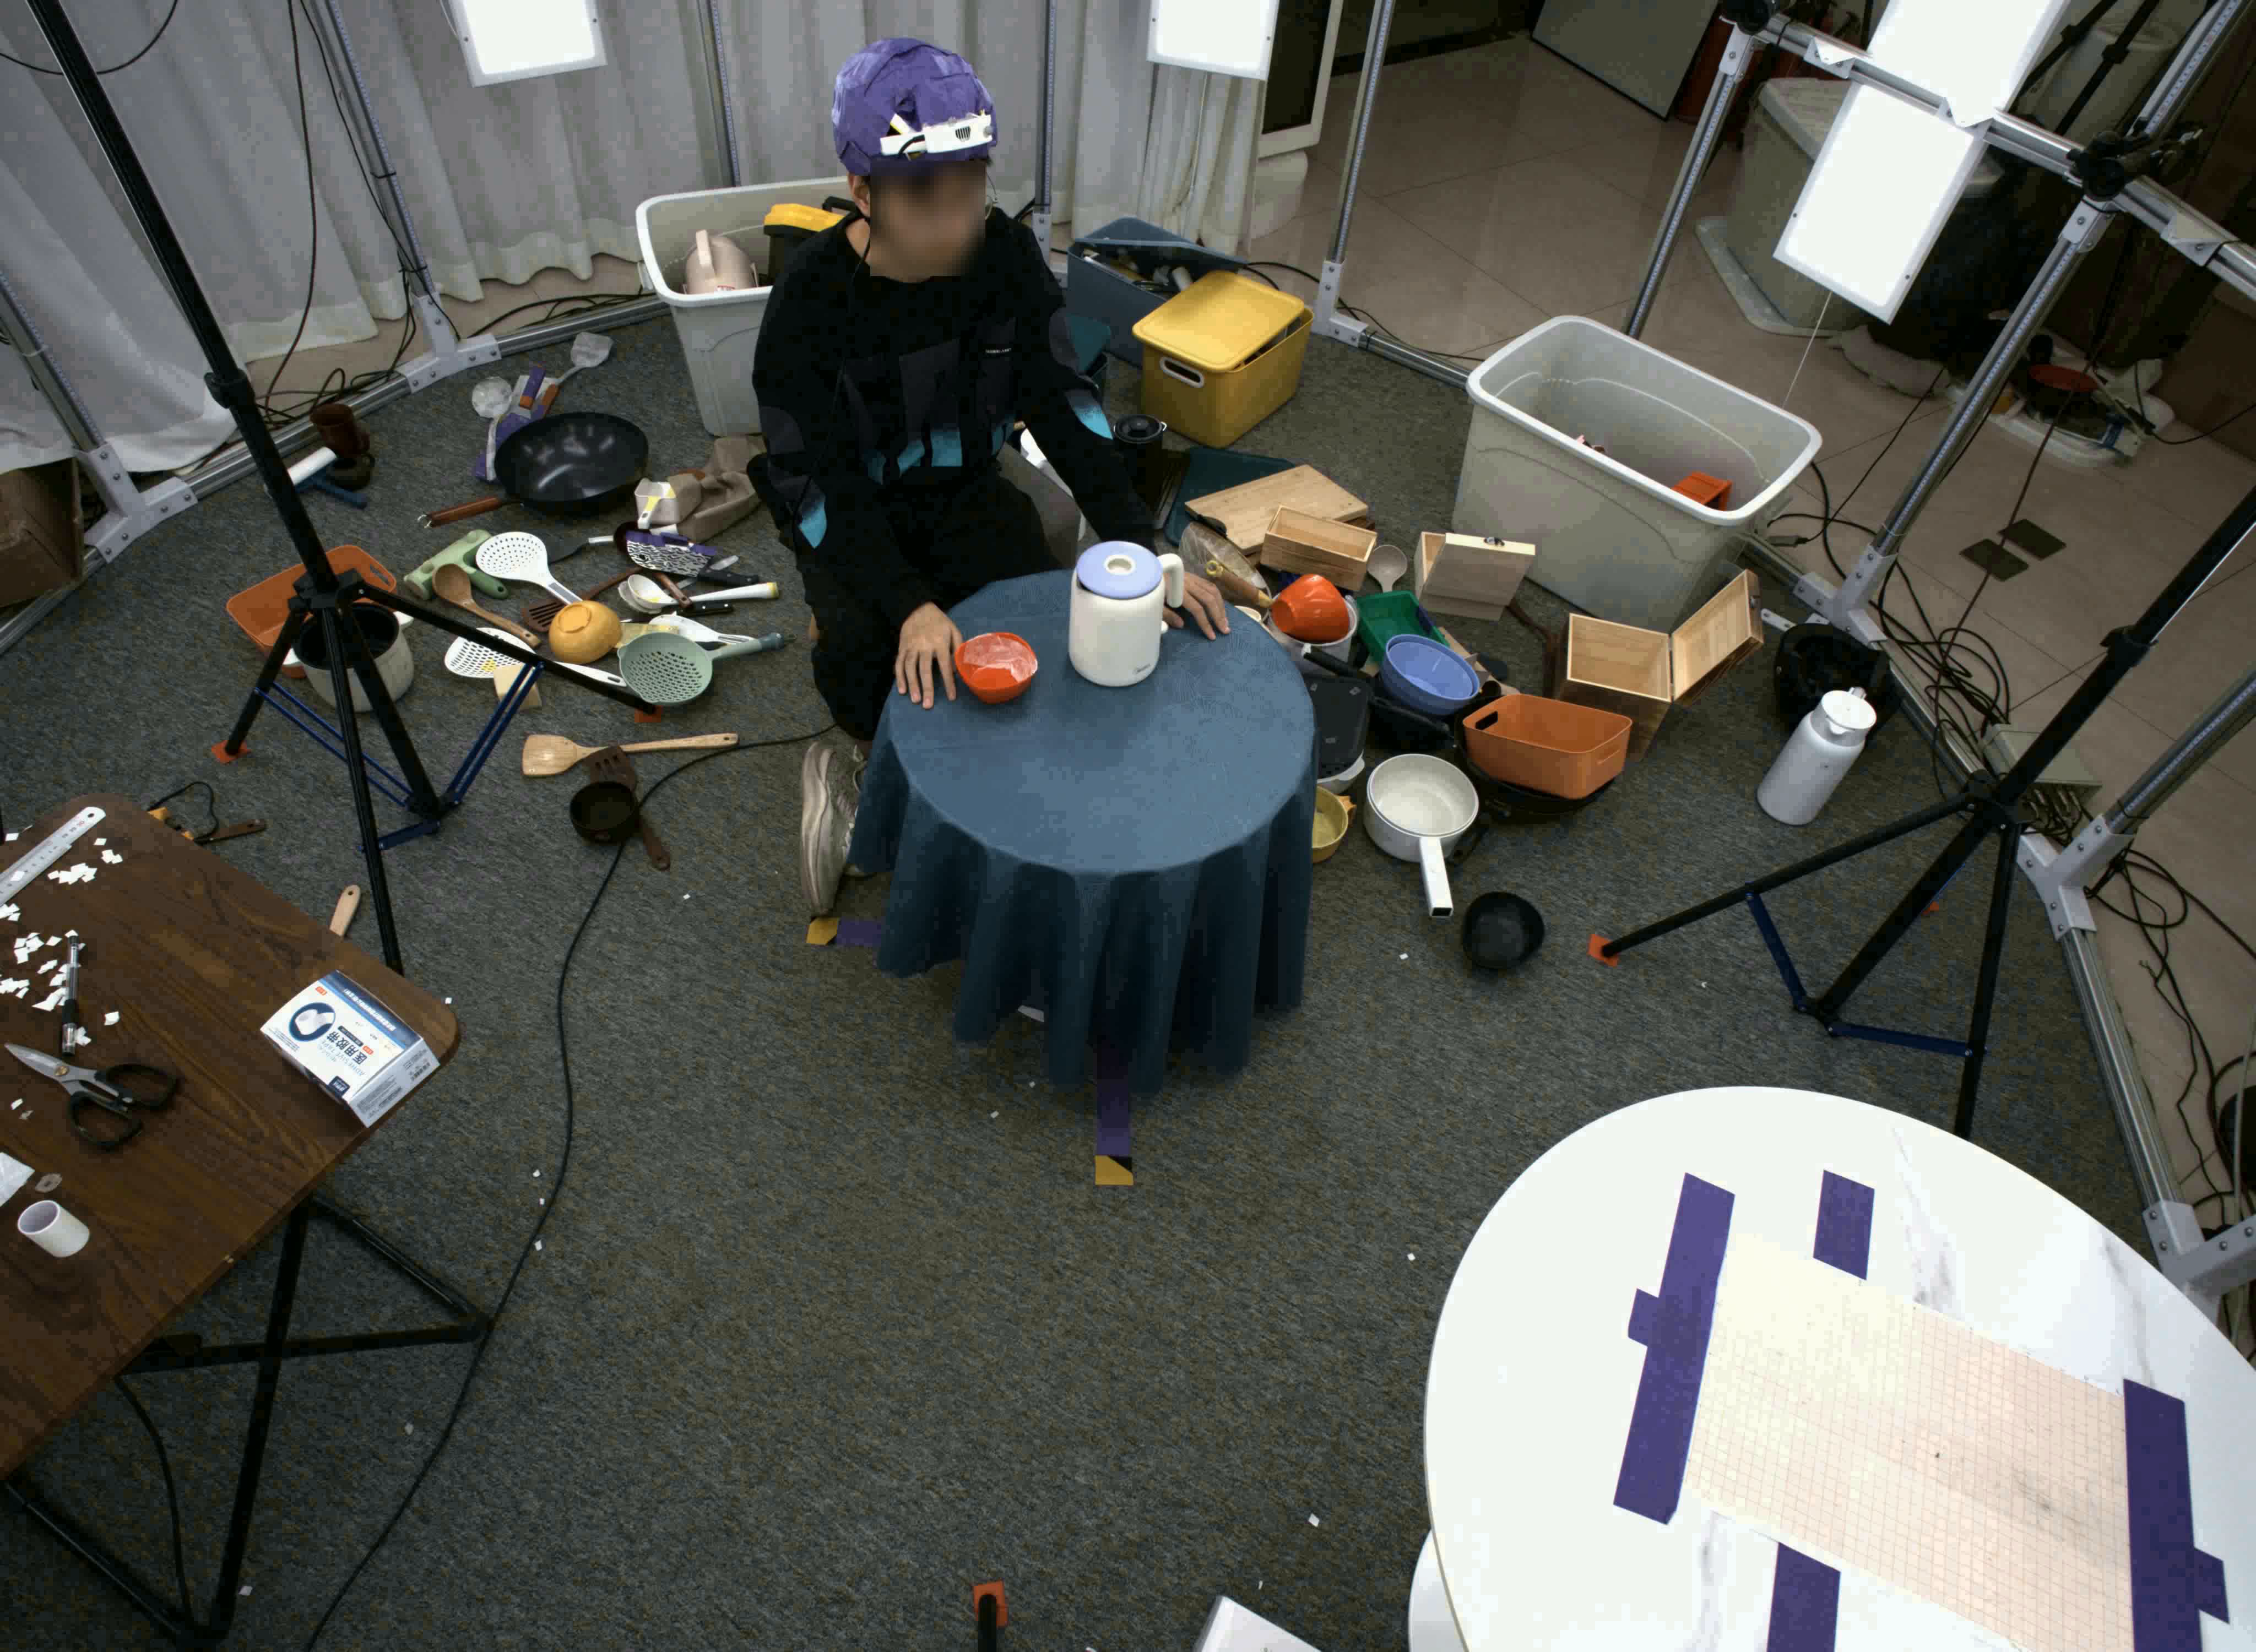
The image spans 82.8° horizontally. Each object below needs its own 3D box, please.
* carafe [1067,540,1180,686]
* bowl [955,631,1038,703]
[{"bbox_3d":[0.002,-0.311,1.828,0.192,0.178,0.134,-29,58,-28],"label":"carafe"},{"bbox_3d":[-0.184,-0.218,1.810,0.119,0.050,0.122,1,52,-2],"label":"bowl"}]
